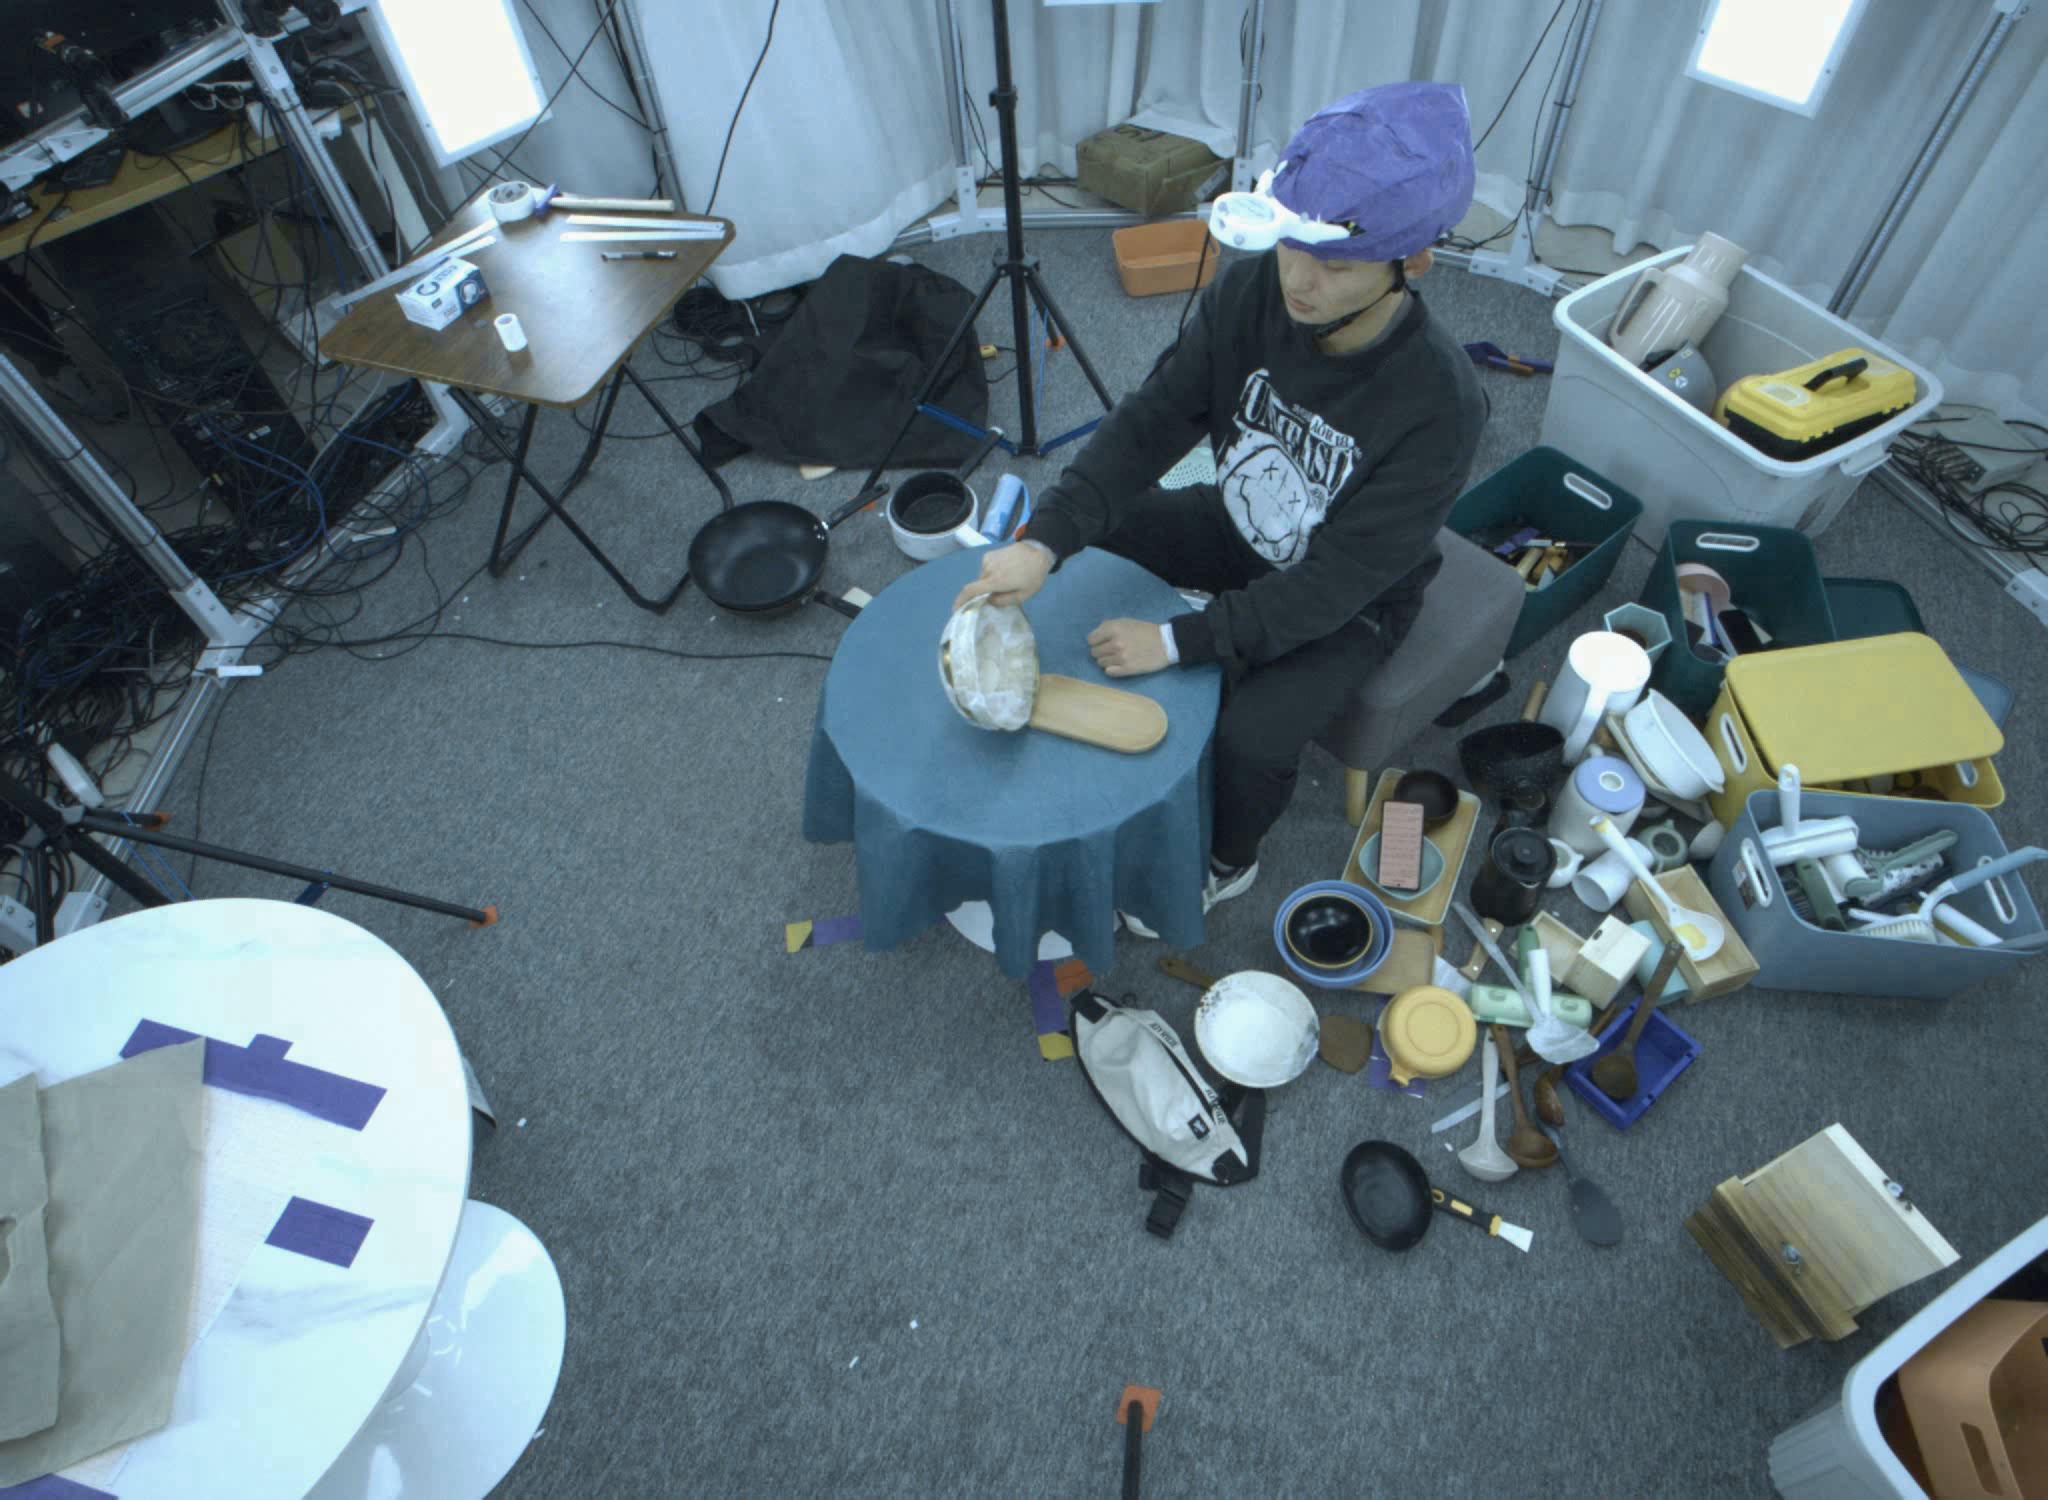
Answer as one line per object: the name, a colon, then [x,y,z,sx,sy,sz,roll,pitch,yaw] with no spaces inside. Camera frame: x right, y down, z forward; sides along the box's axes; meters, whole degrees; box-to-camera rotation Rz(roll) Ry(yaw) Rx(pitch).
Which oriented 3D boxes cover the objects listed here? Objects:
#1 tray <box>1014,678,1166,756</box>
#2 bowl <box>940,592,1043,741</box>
tray: [0.097,-0.049,1.820,0.229,0.020,0.101,14,55,13]
bowl: [-0.058,-0.116,1.756,0.093,0.219,0.213,-5,52,27]
